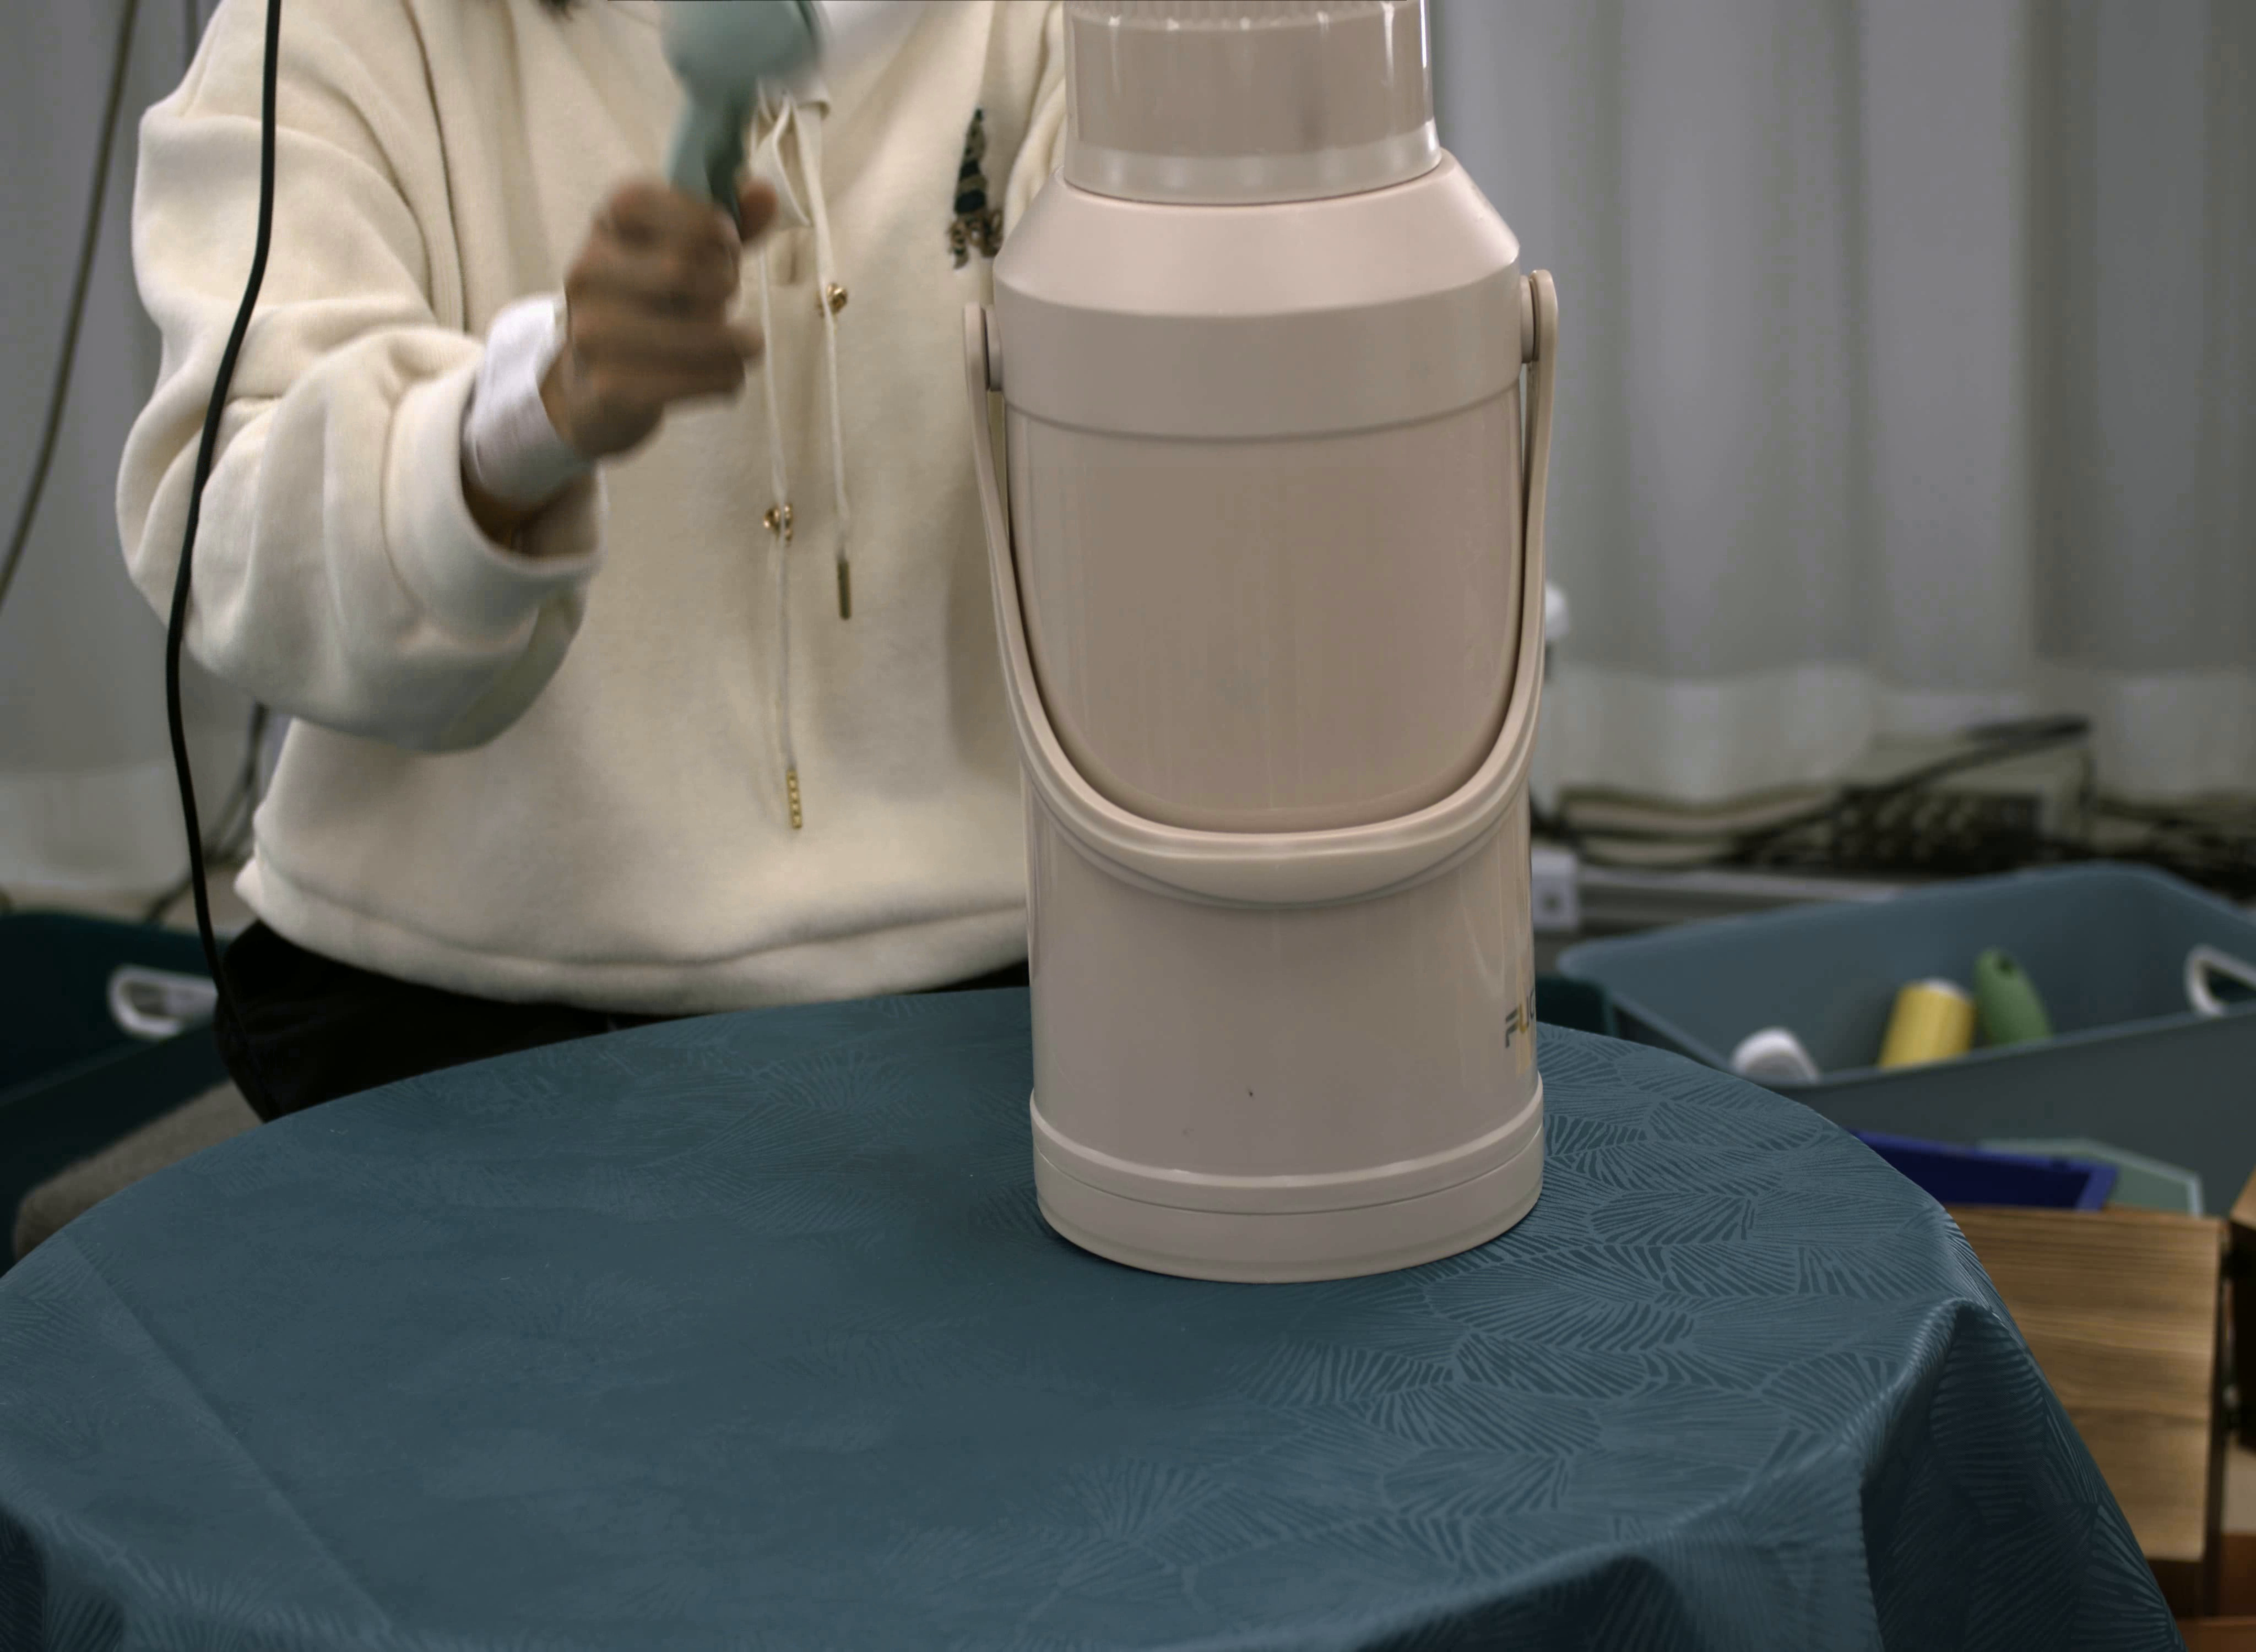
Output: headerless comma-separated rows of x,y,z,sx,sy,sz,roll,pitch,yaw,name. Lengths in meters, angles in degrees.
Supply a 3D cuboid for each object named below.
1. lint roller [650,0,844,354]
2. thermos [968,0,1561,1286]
-0.114,-0.228,1.694,0.048,0.196,0.117,38,40,6,lint roller
0.043,-0.080,1.657,0.175,0.404,0.209,-3,16,-2,thermos
